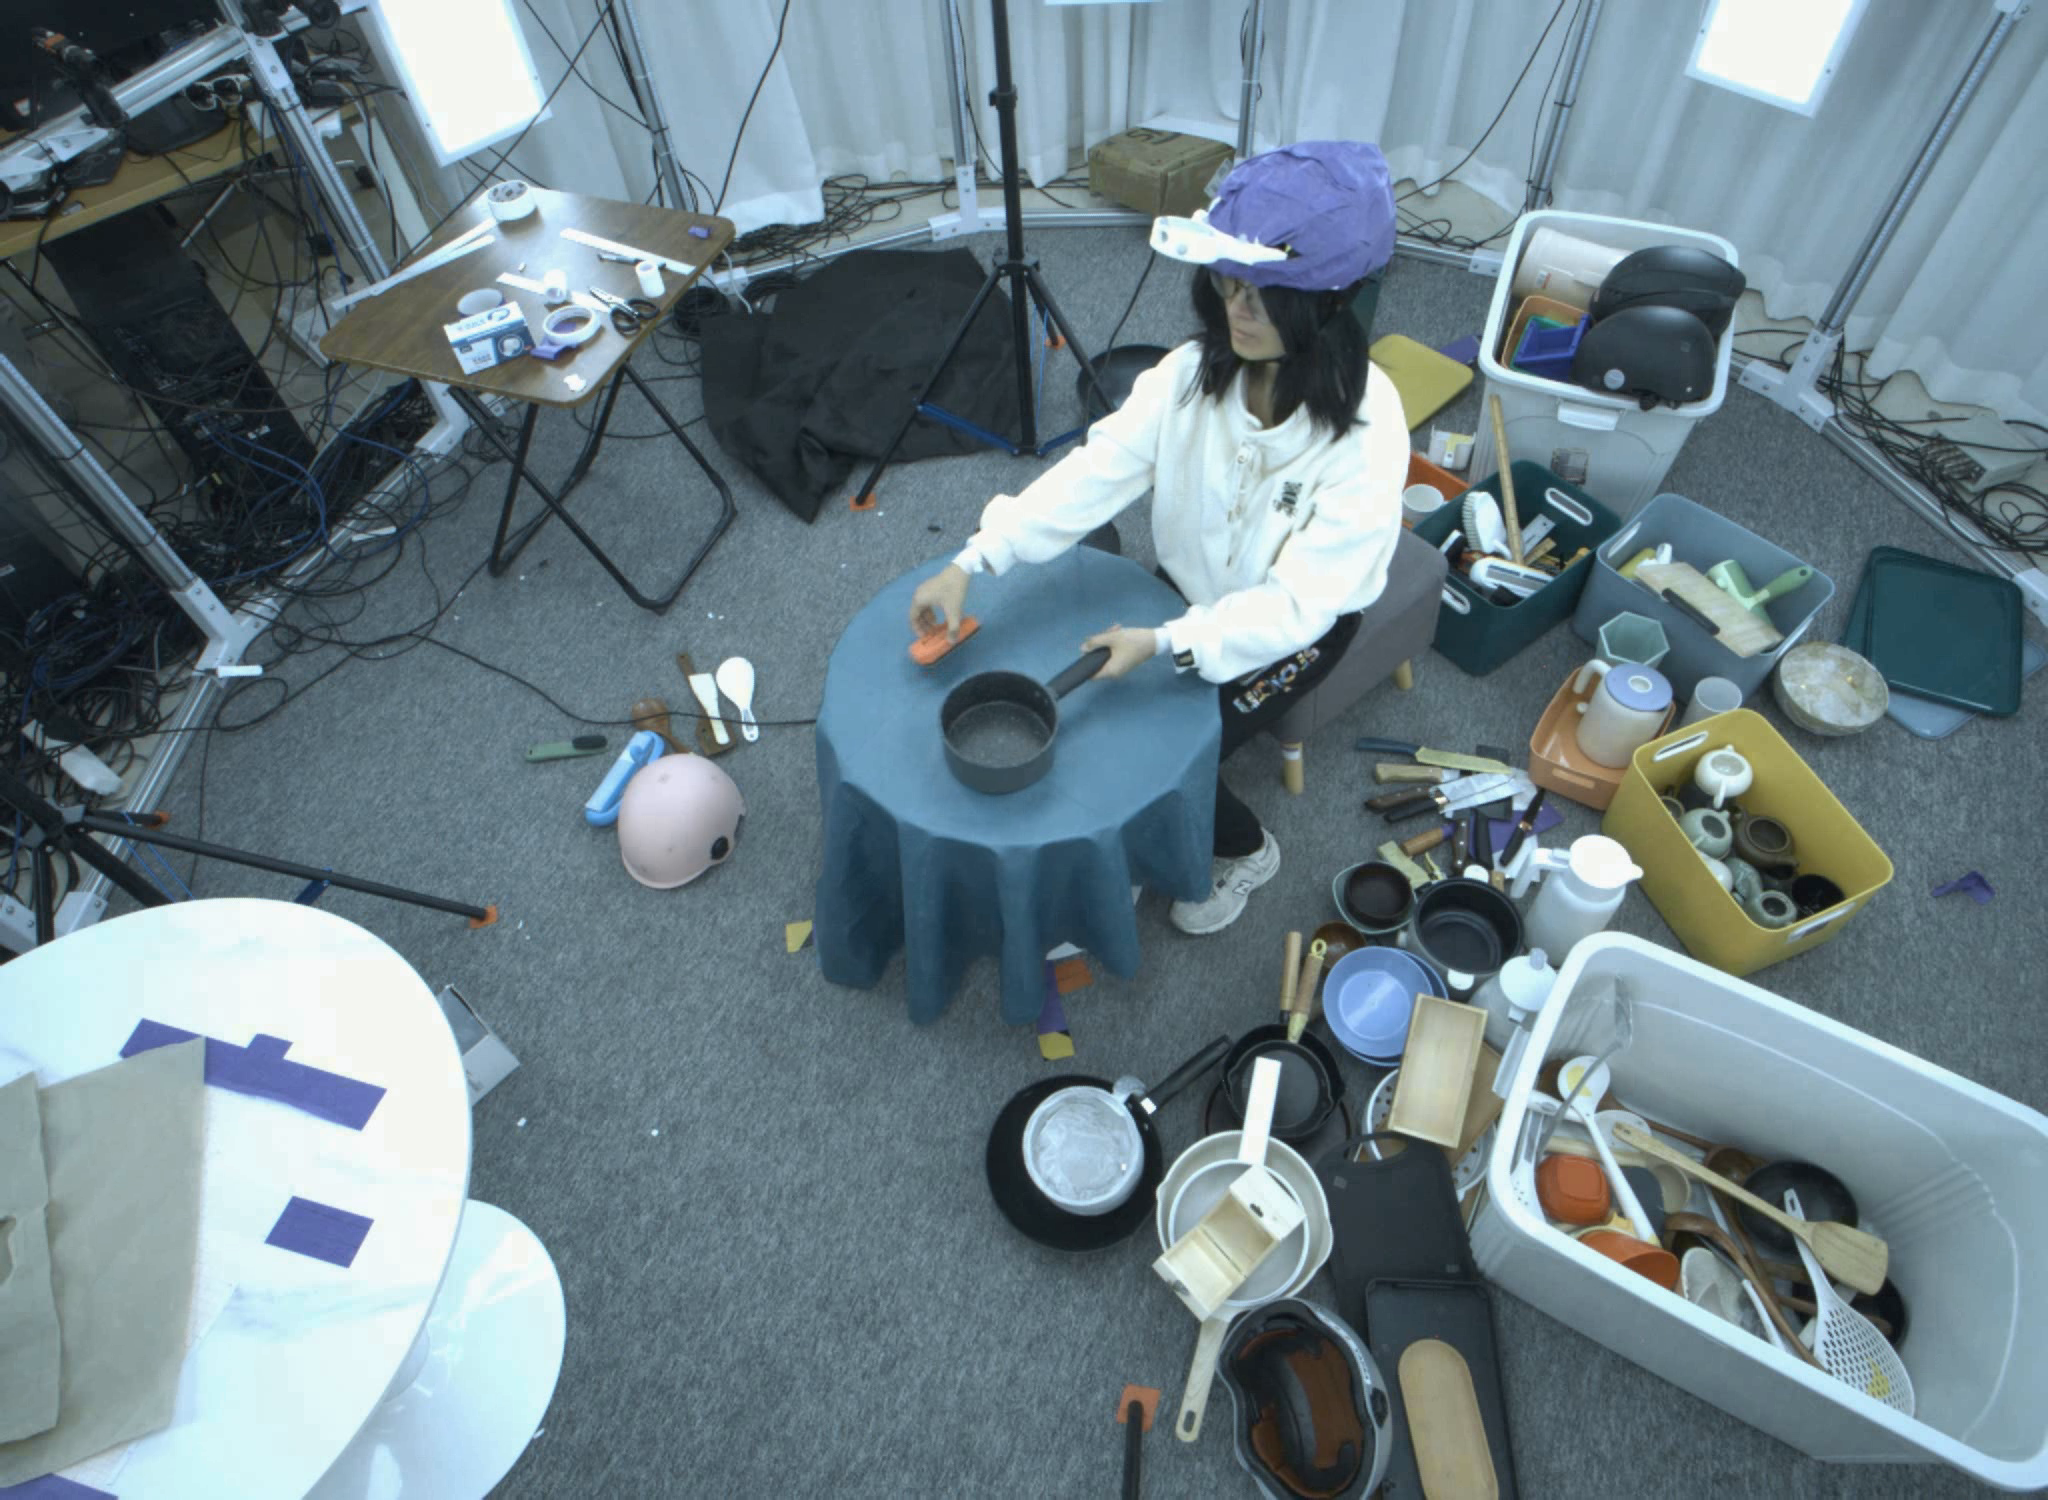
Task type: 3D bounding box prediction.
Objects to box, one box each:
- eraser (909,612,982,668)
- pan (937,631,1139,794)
[{"bbox_3d":[-0.120,-0.167,1.862,0.109,0.023,0.057,-39,35,-20],"label":"eraser"},{"bbox_3d":[0.027,-0.065,1.779,0.331,0.087,0.169,-32,63,-19],"label":"pan"}]
